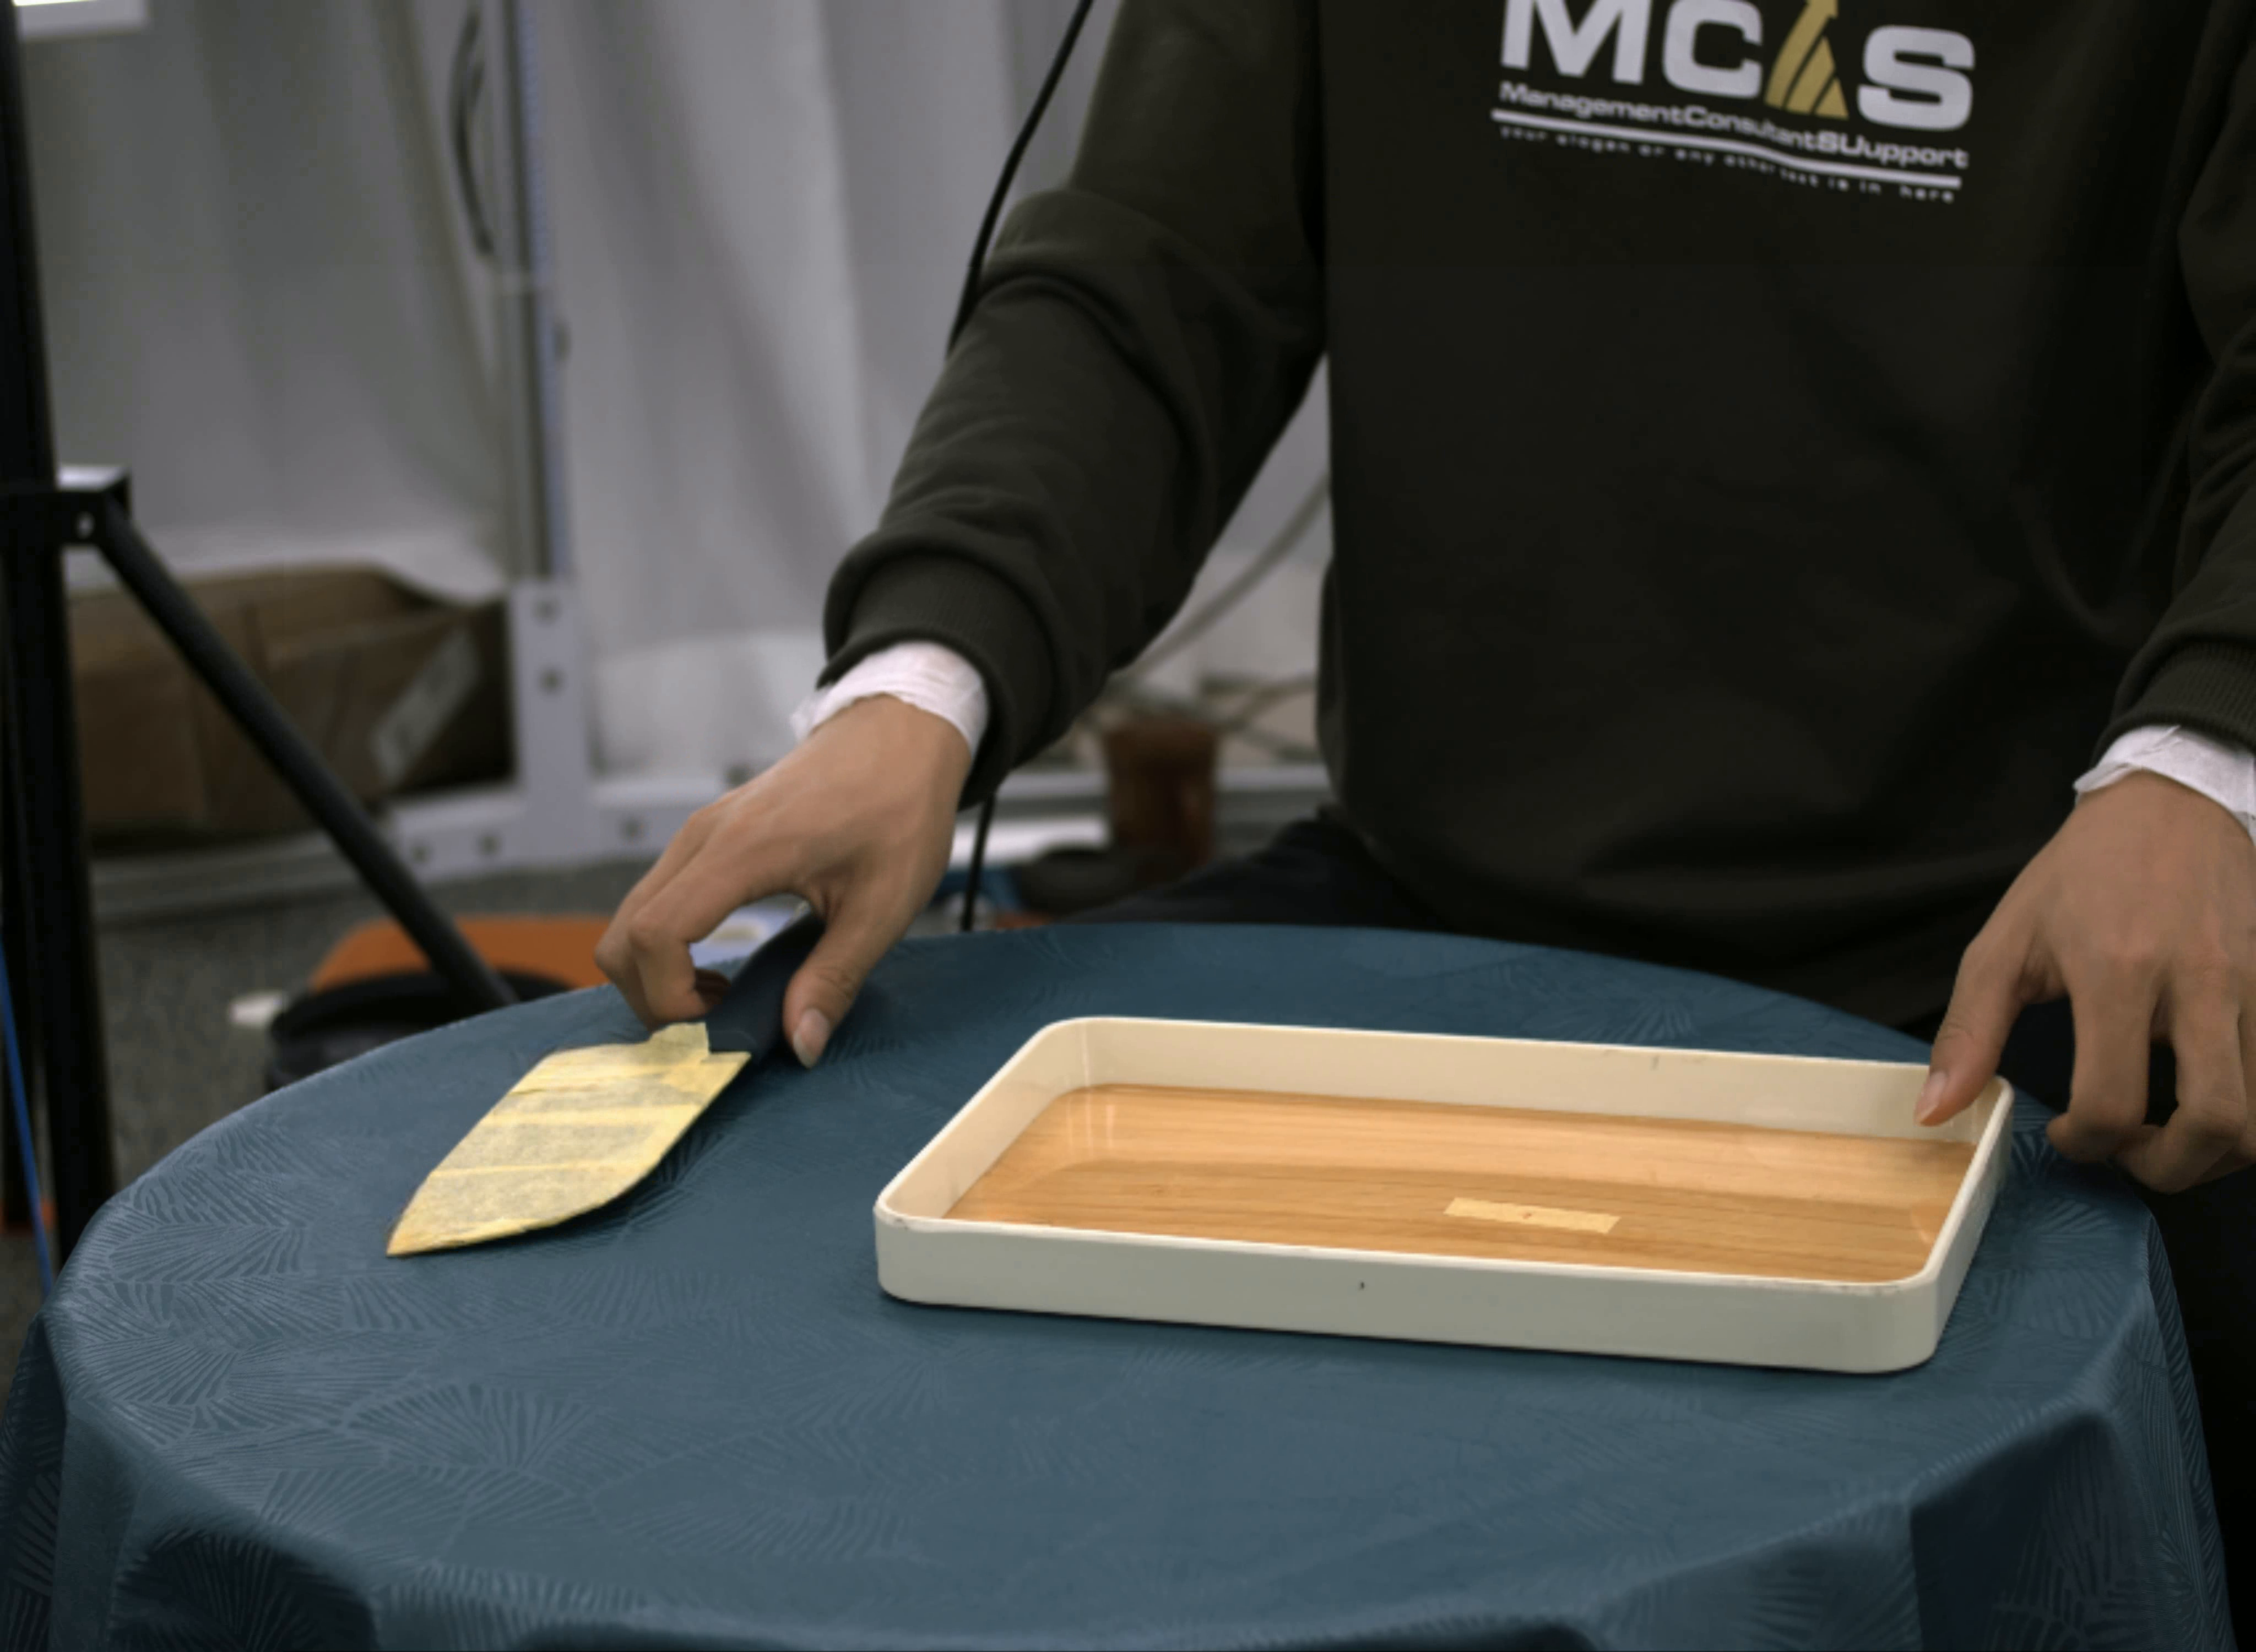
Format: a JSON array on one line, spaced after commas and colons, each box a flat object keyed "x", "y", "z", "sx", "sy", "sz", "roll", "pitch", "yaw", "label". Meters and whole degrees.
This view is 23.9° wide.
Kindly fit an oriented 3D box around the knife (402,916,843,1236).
[{"x": -0.153, "y": 0.078, "z": 1.665, "sx": 0.082, "sy": 0.027, "sz": 0.286, "roll": 1, "pitch": 16, "yaw": 18, "label": "knife"}]

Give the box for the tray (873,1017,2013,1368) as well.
[{"x": 0.094, "y": 0.103, "z": 1.518, "sx": 0.303, "sy": 0.027, "sz": 0.189, "roll": 3, "pitch": 16, "yaw": 18, "label": "tray"}]
